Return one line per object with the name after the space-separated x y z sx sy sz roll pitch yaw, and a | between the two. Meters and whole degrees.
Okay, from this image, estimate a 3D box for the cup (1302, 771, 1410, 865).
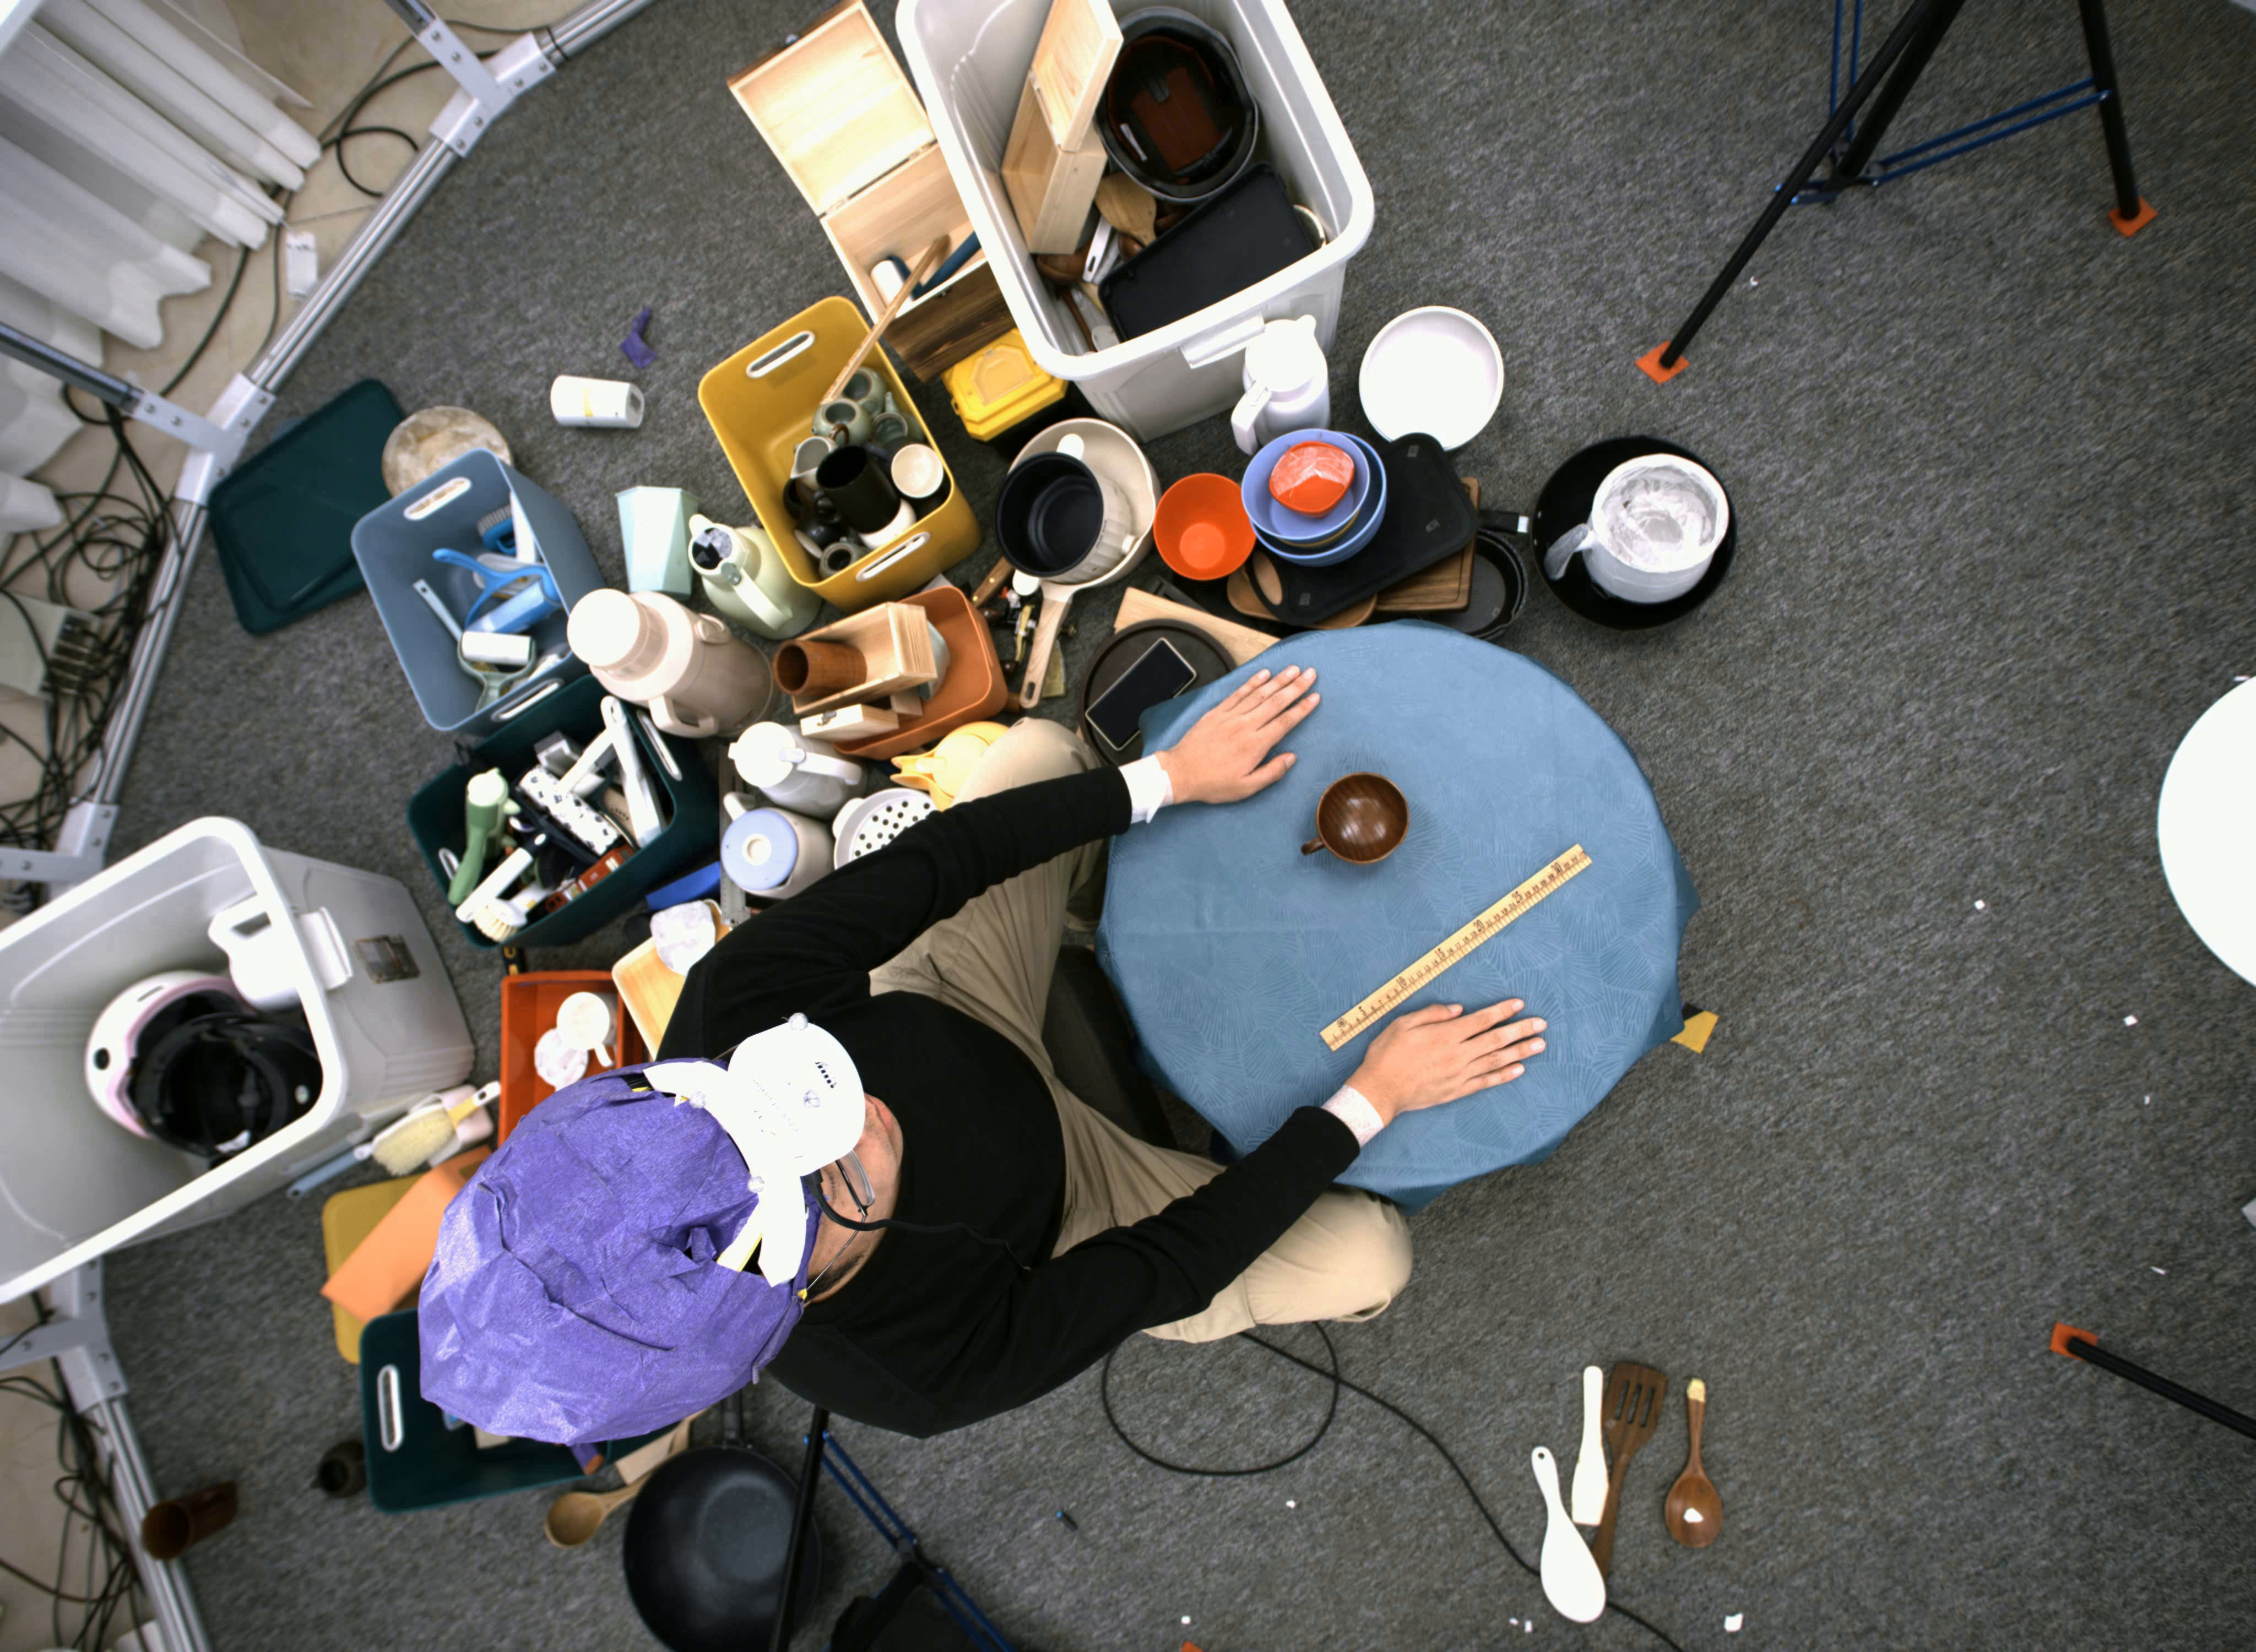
0.234 -0.002 1.438 0.120 0.067 0.095 -30 83 8 | cup

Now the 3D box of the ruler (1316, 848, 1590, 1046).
0.339 0.125 1.439 0.333 0.022 0.027 -35 76 6 | ruler
